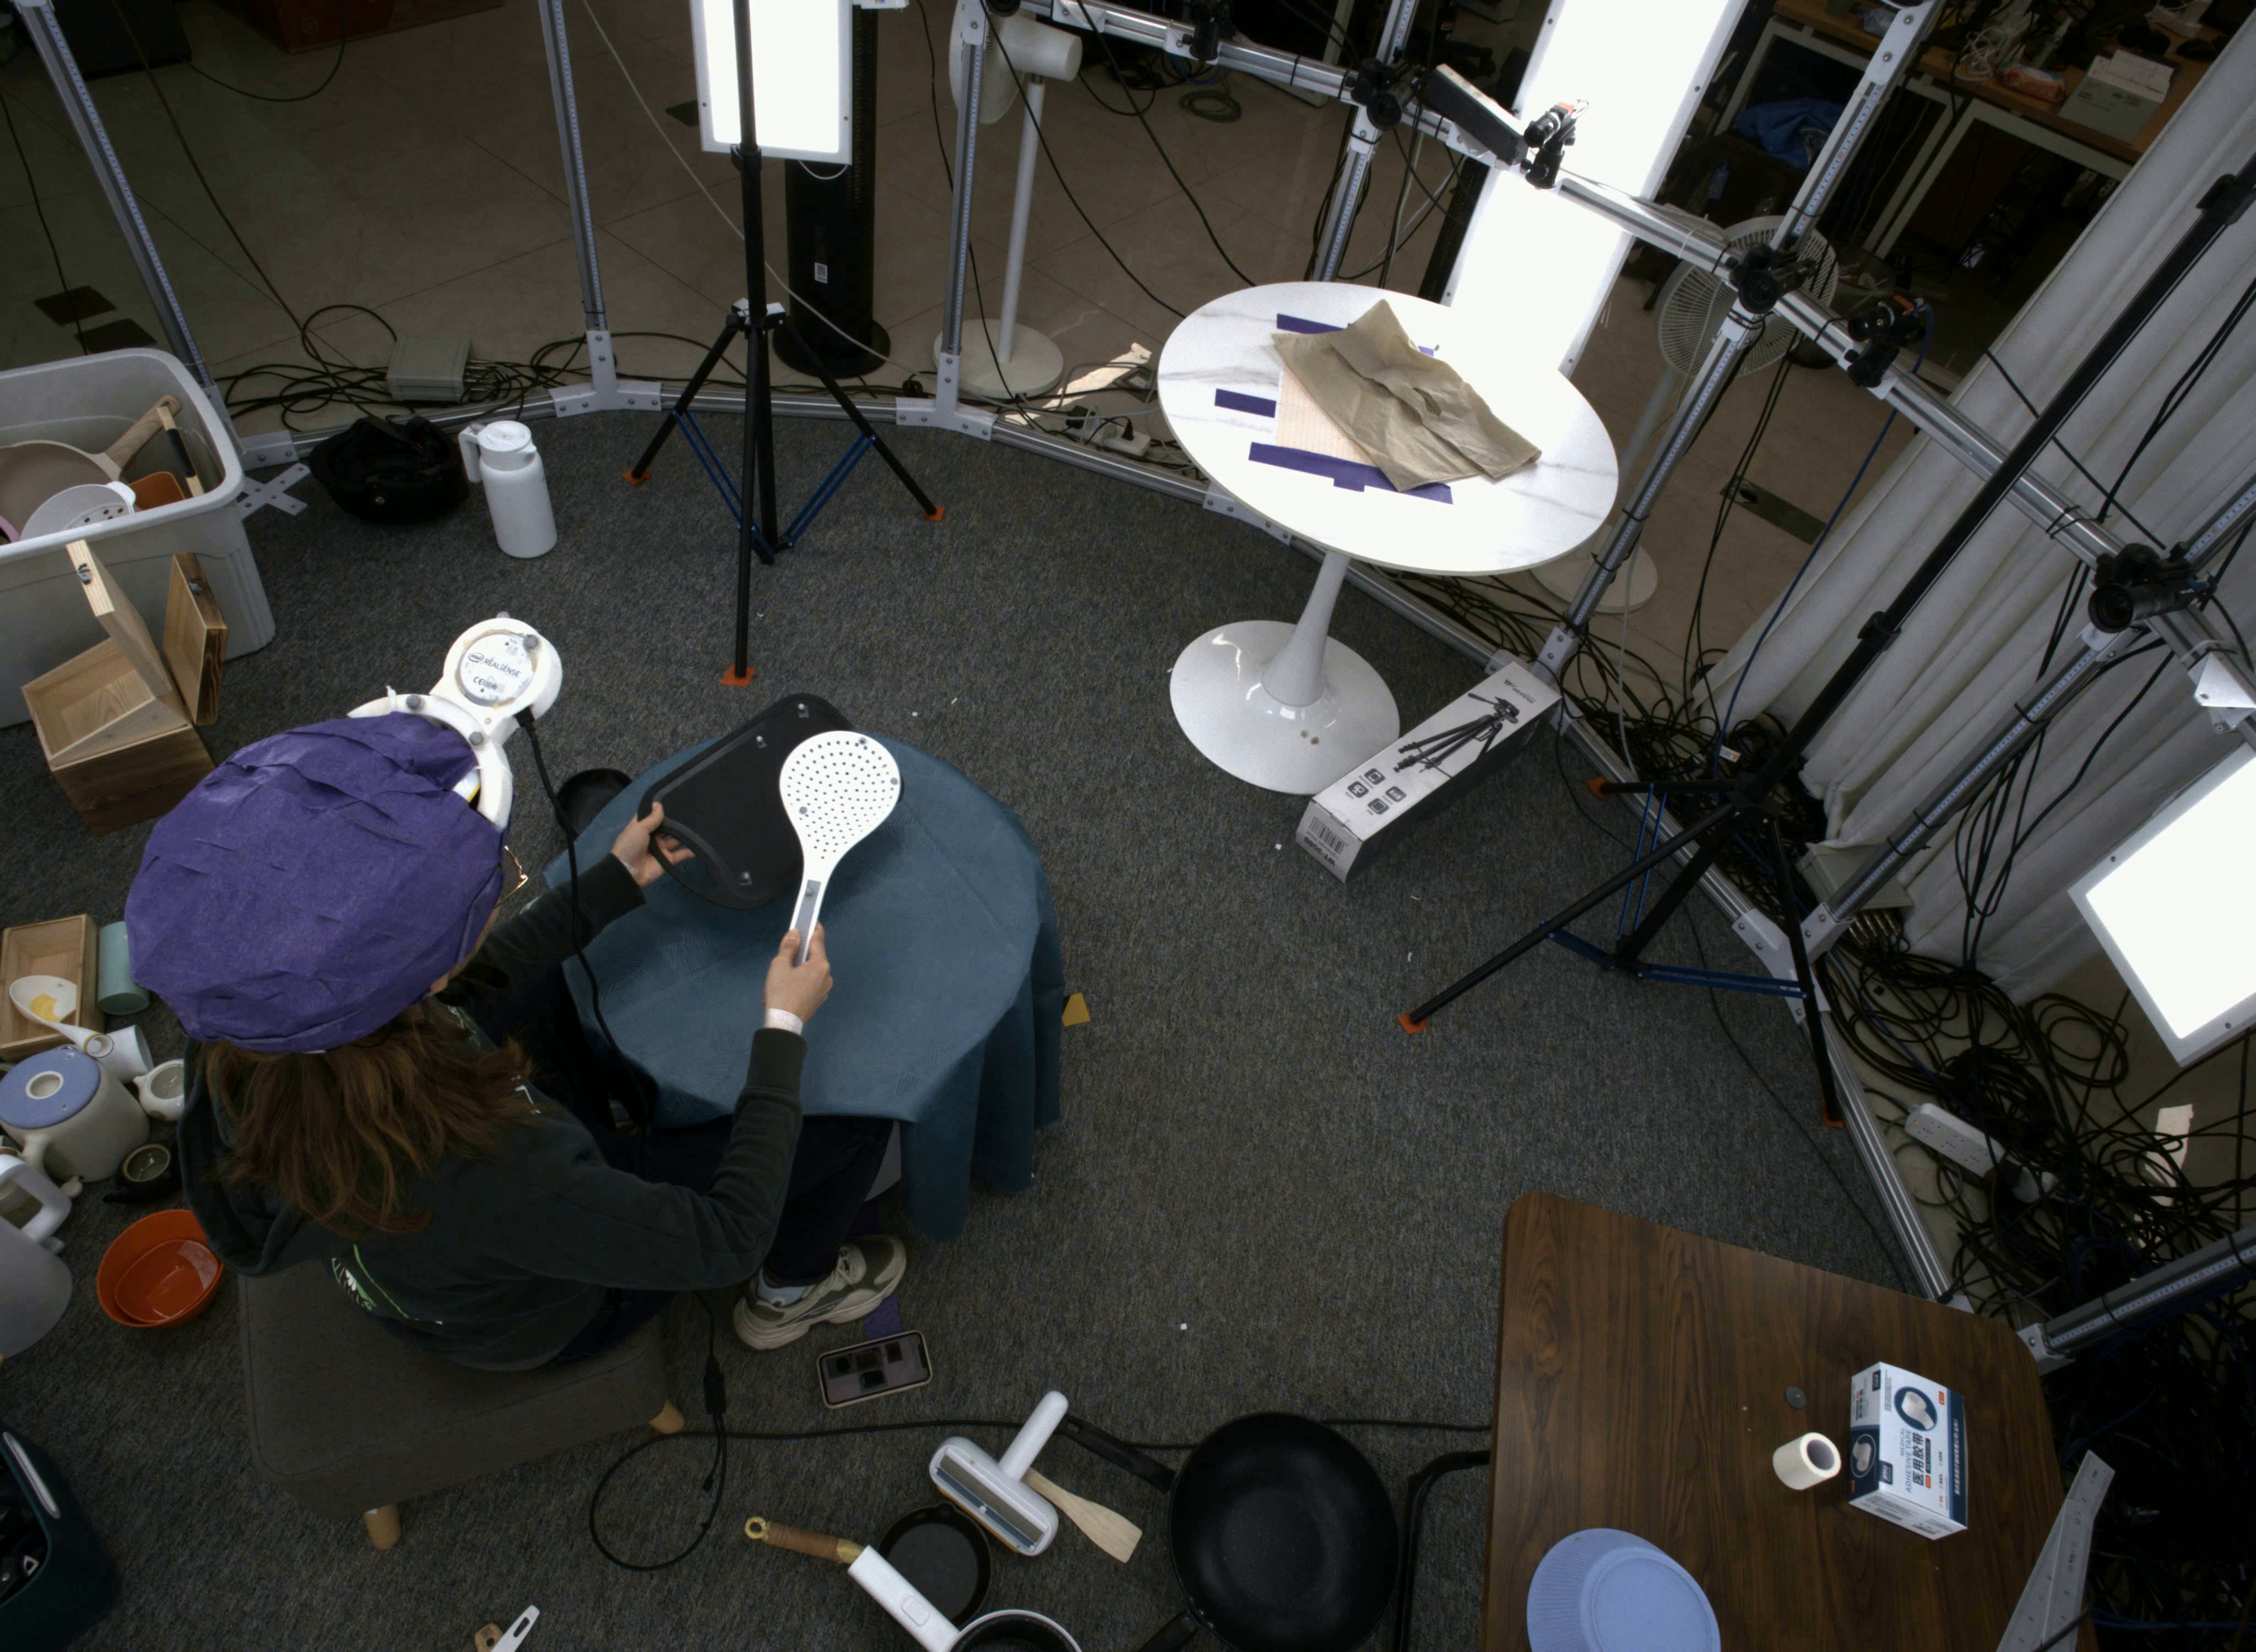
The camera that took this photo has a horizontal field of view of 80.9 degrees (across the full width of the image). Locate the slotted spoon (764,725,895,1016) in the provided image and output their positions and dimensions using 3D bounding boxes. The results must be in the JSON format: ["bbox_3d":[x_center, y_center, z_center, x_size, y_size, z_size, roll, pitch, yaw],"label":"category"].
[{"bbox_3d":[-0.353,0.043,1.457,0.135,0.046,0.346,11,60,-5],"label":"slotted spoon"}]

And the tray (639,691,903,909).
[{"bbox_3d":[-0.448,-0.036,1.625,0.210,0.010,0.325,44,53,4],"label":"tray"}]
